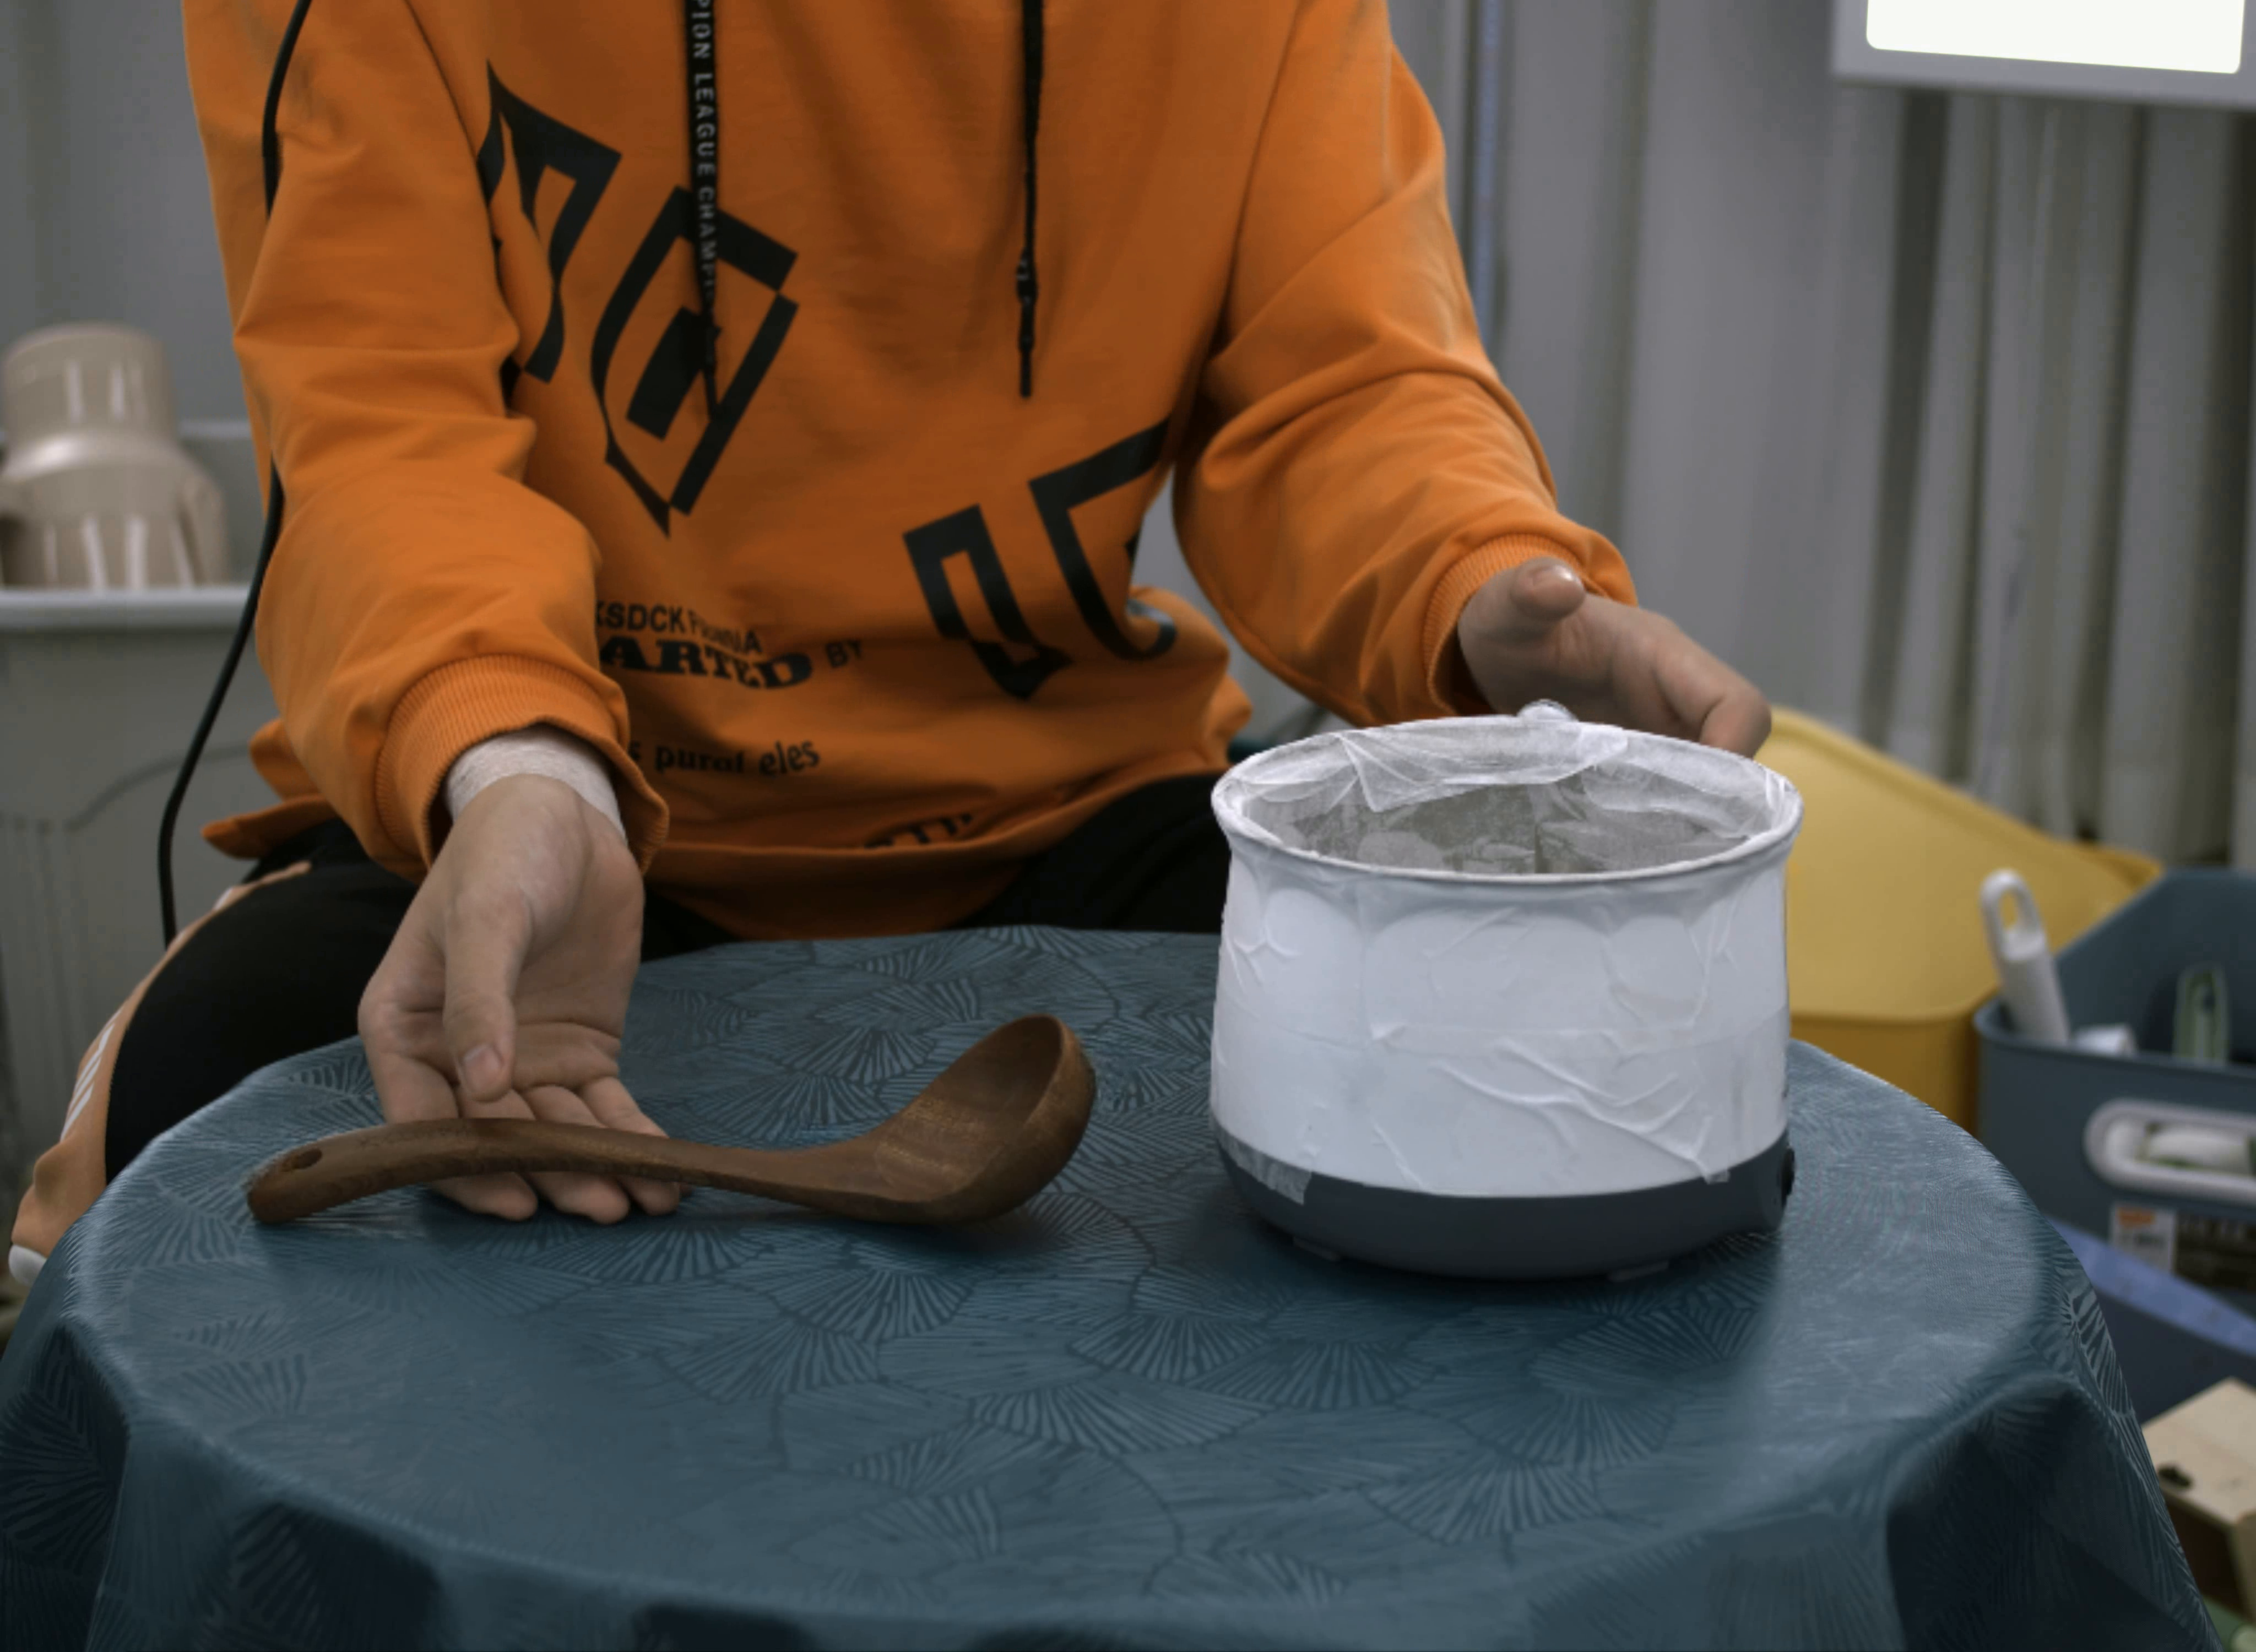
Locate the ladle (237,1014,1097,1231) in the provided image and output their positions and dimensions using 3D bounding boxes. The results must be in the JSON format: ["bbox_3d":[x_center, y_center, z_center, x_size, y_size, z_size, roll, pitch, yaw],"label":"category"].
[{"bbox_3d":[-0.139,0.090,1.582,0.259,0.066,0.076,1,25,-1],"label":"ladle"}]

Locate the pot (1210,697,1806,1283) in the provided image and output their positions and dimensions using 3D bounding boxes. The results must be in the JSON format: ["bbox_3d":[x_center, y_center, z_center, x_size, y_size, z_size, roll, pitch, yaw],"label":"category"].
[{"bbox_3d":[0.117,0.044,1.614,0.177,0.138,0.233,3,16,8],"label":"pot"}]
